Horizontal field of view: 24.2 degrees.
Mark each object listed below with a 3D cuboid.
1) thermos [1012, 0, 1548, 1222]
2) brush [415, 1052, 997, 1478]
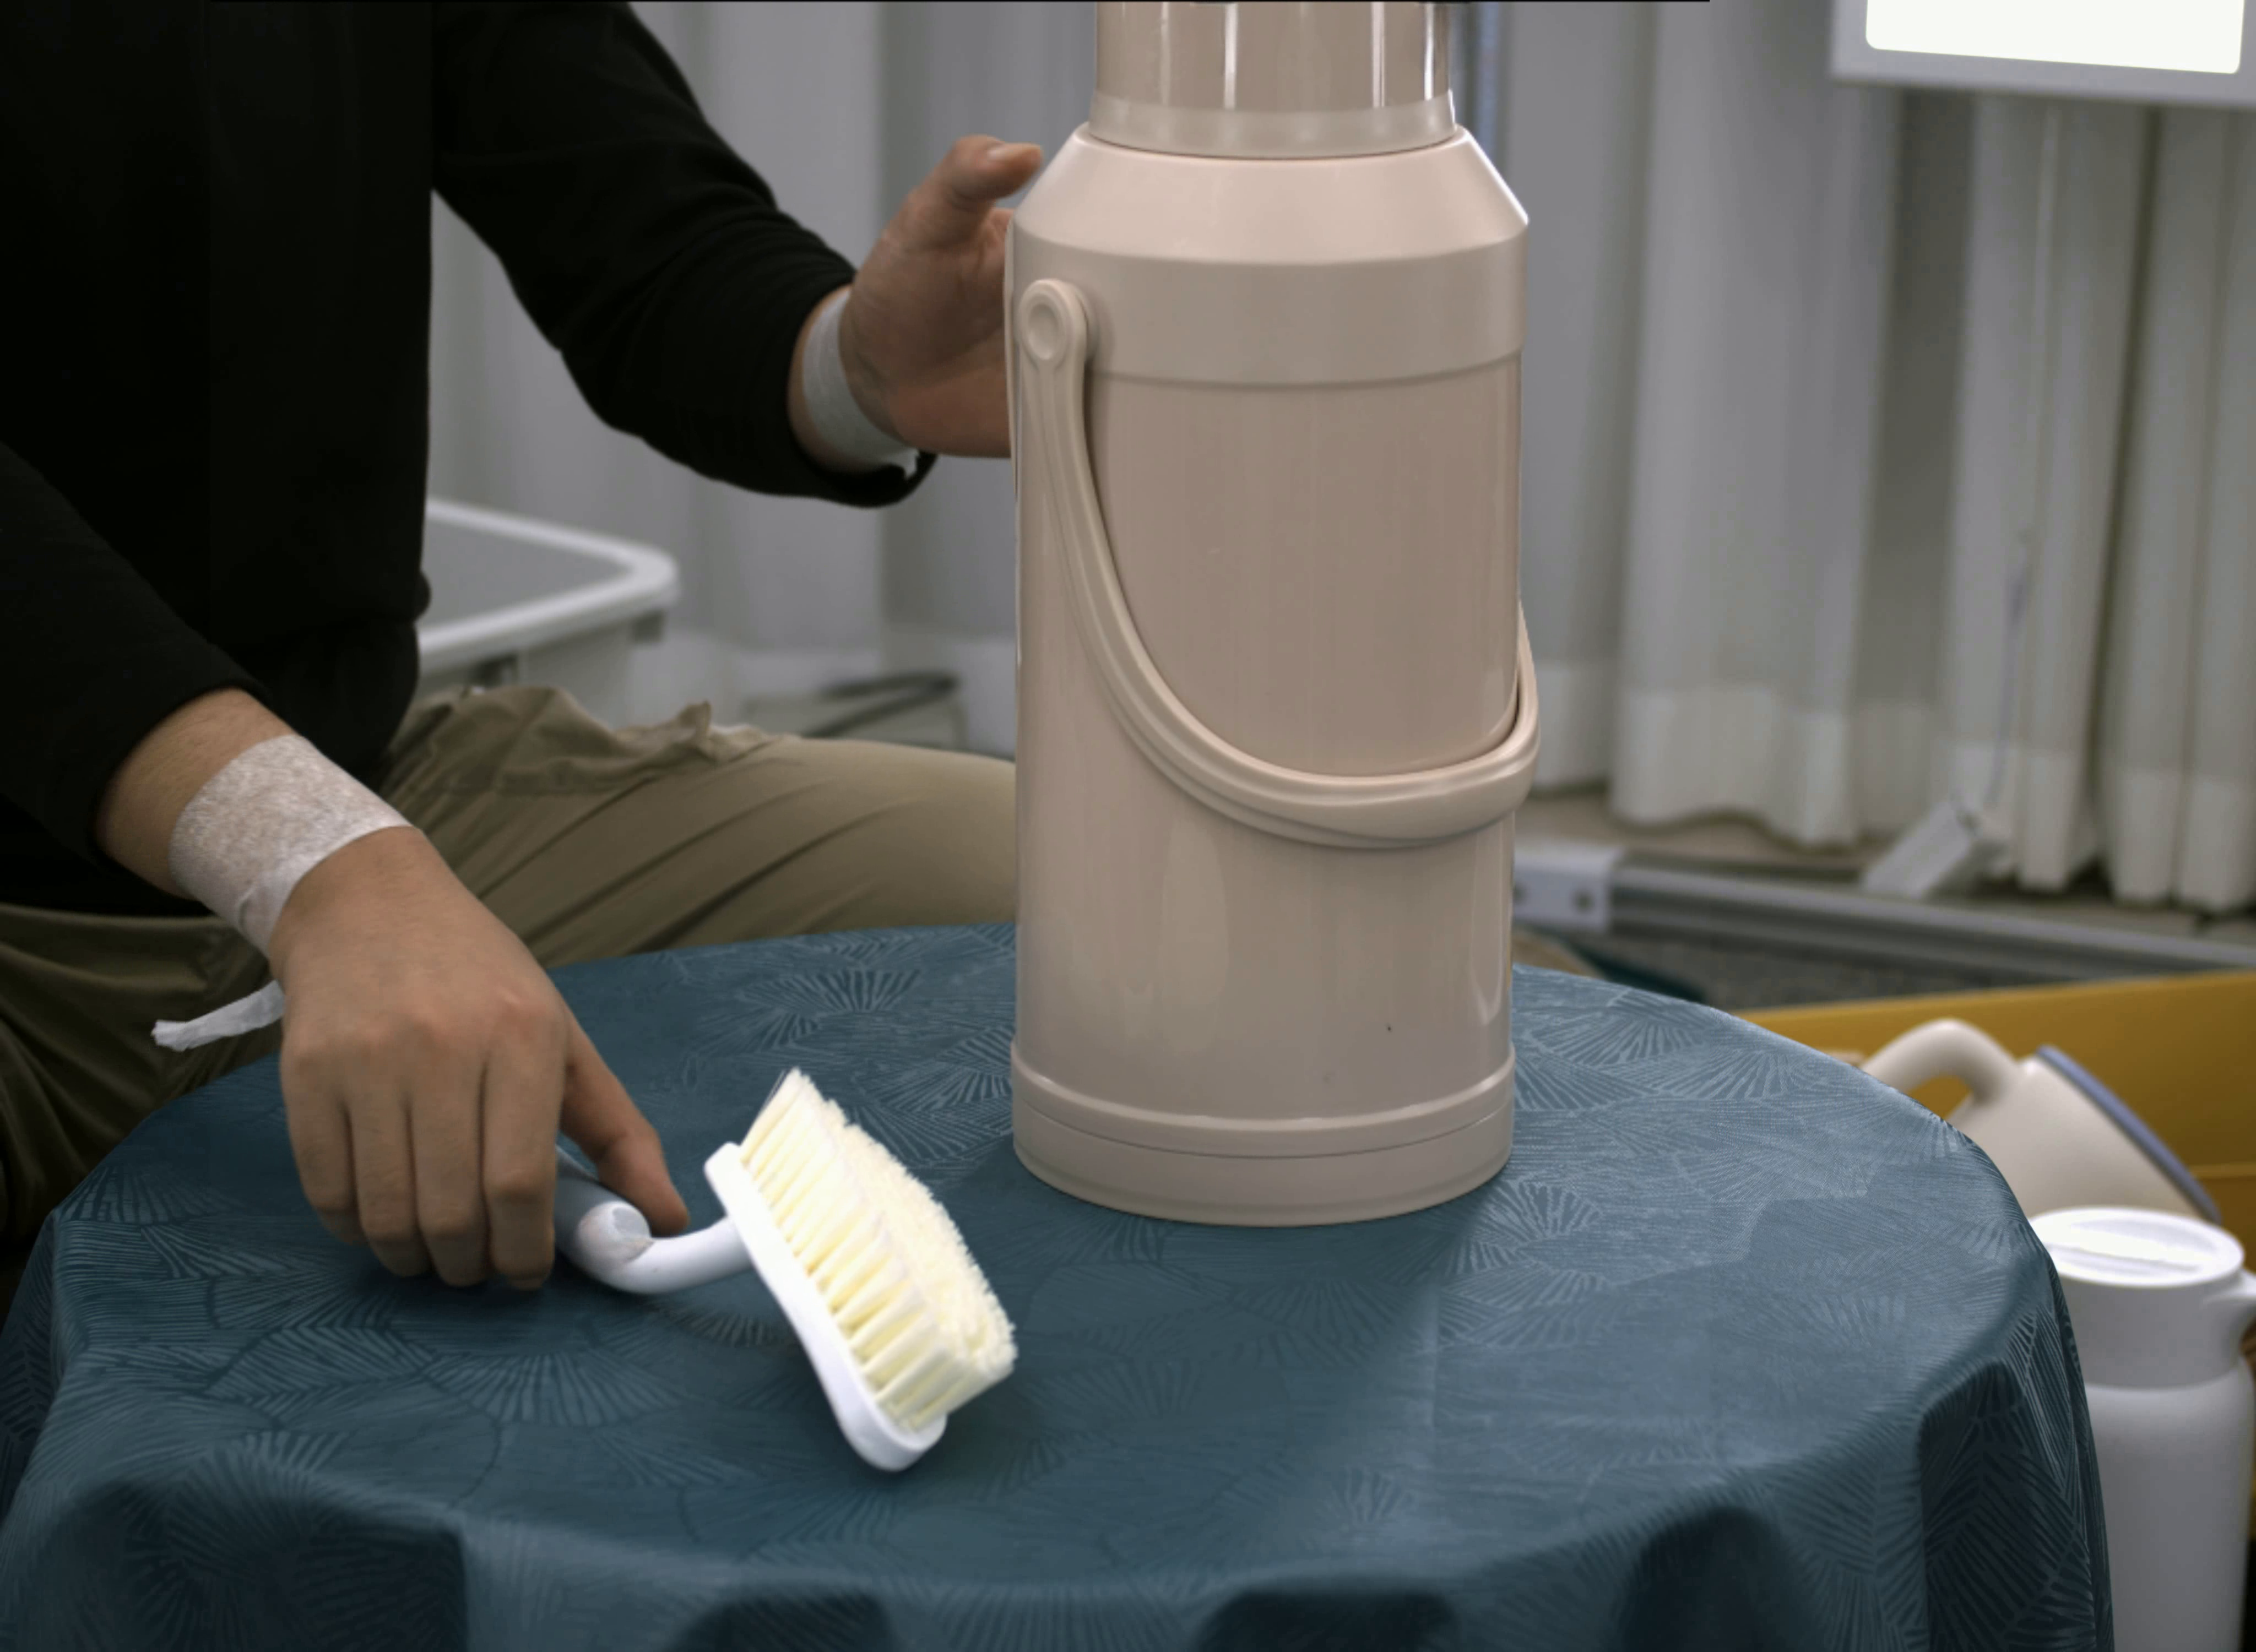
[{"bbox_3d":[0.037,-0.094,1.622,0.176,0.410,0.204,-15,22,-38],"label":"thermos"},{"bbox_3d":[-0.121,0.096,1.524,0.085,0.084,0.321,-14,22,-25],"label":"brush"}]
